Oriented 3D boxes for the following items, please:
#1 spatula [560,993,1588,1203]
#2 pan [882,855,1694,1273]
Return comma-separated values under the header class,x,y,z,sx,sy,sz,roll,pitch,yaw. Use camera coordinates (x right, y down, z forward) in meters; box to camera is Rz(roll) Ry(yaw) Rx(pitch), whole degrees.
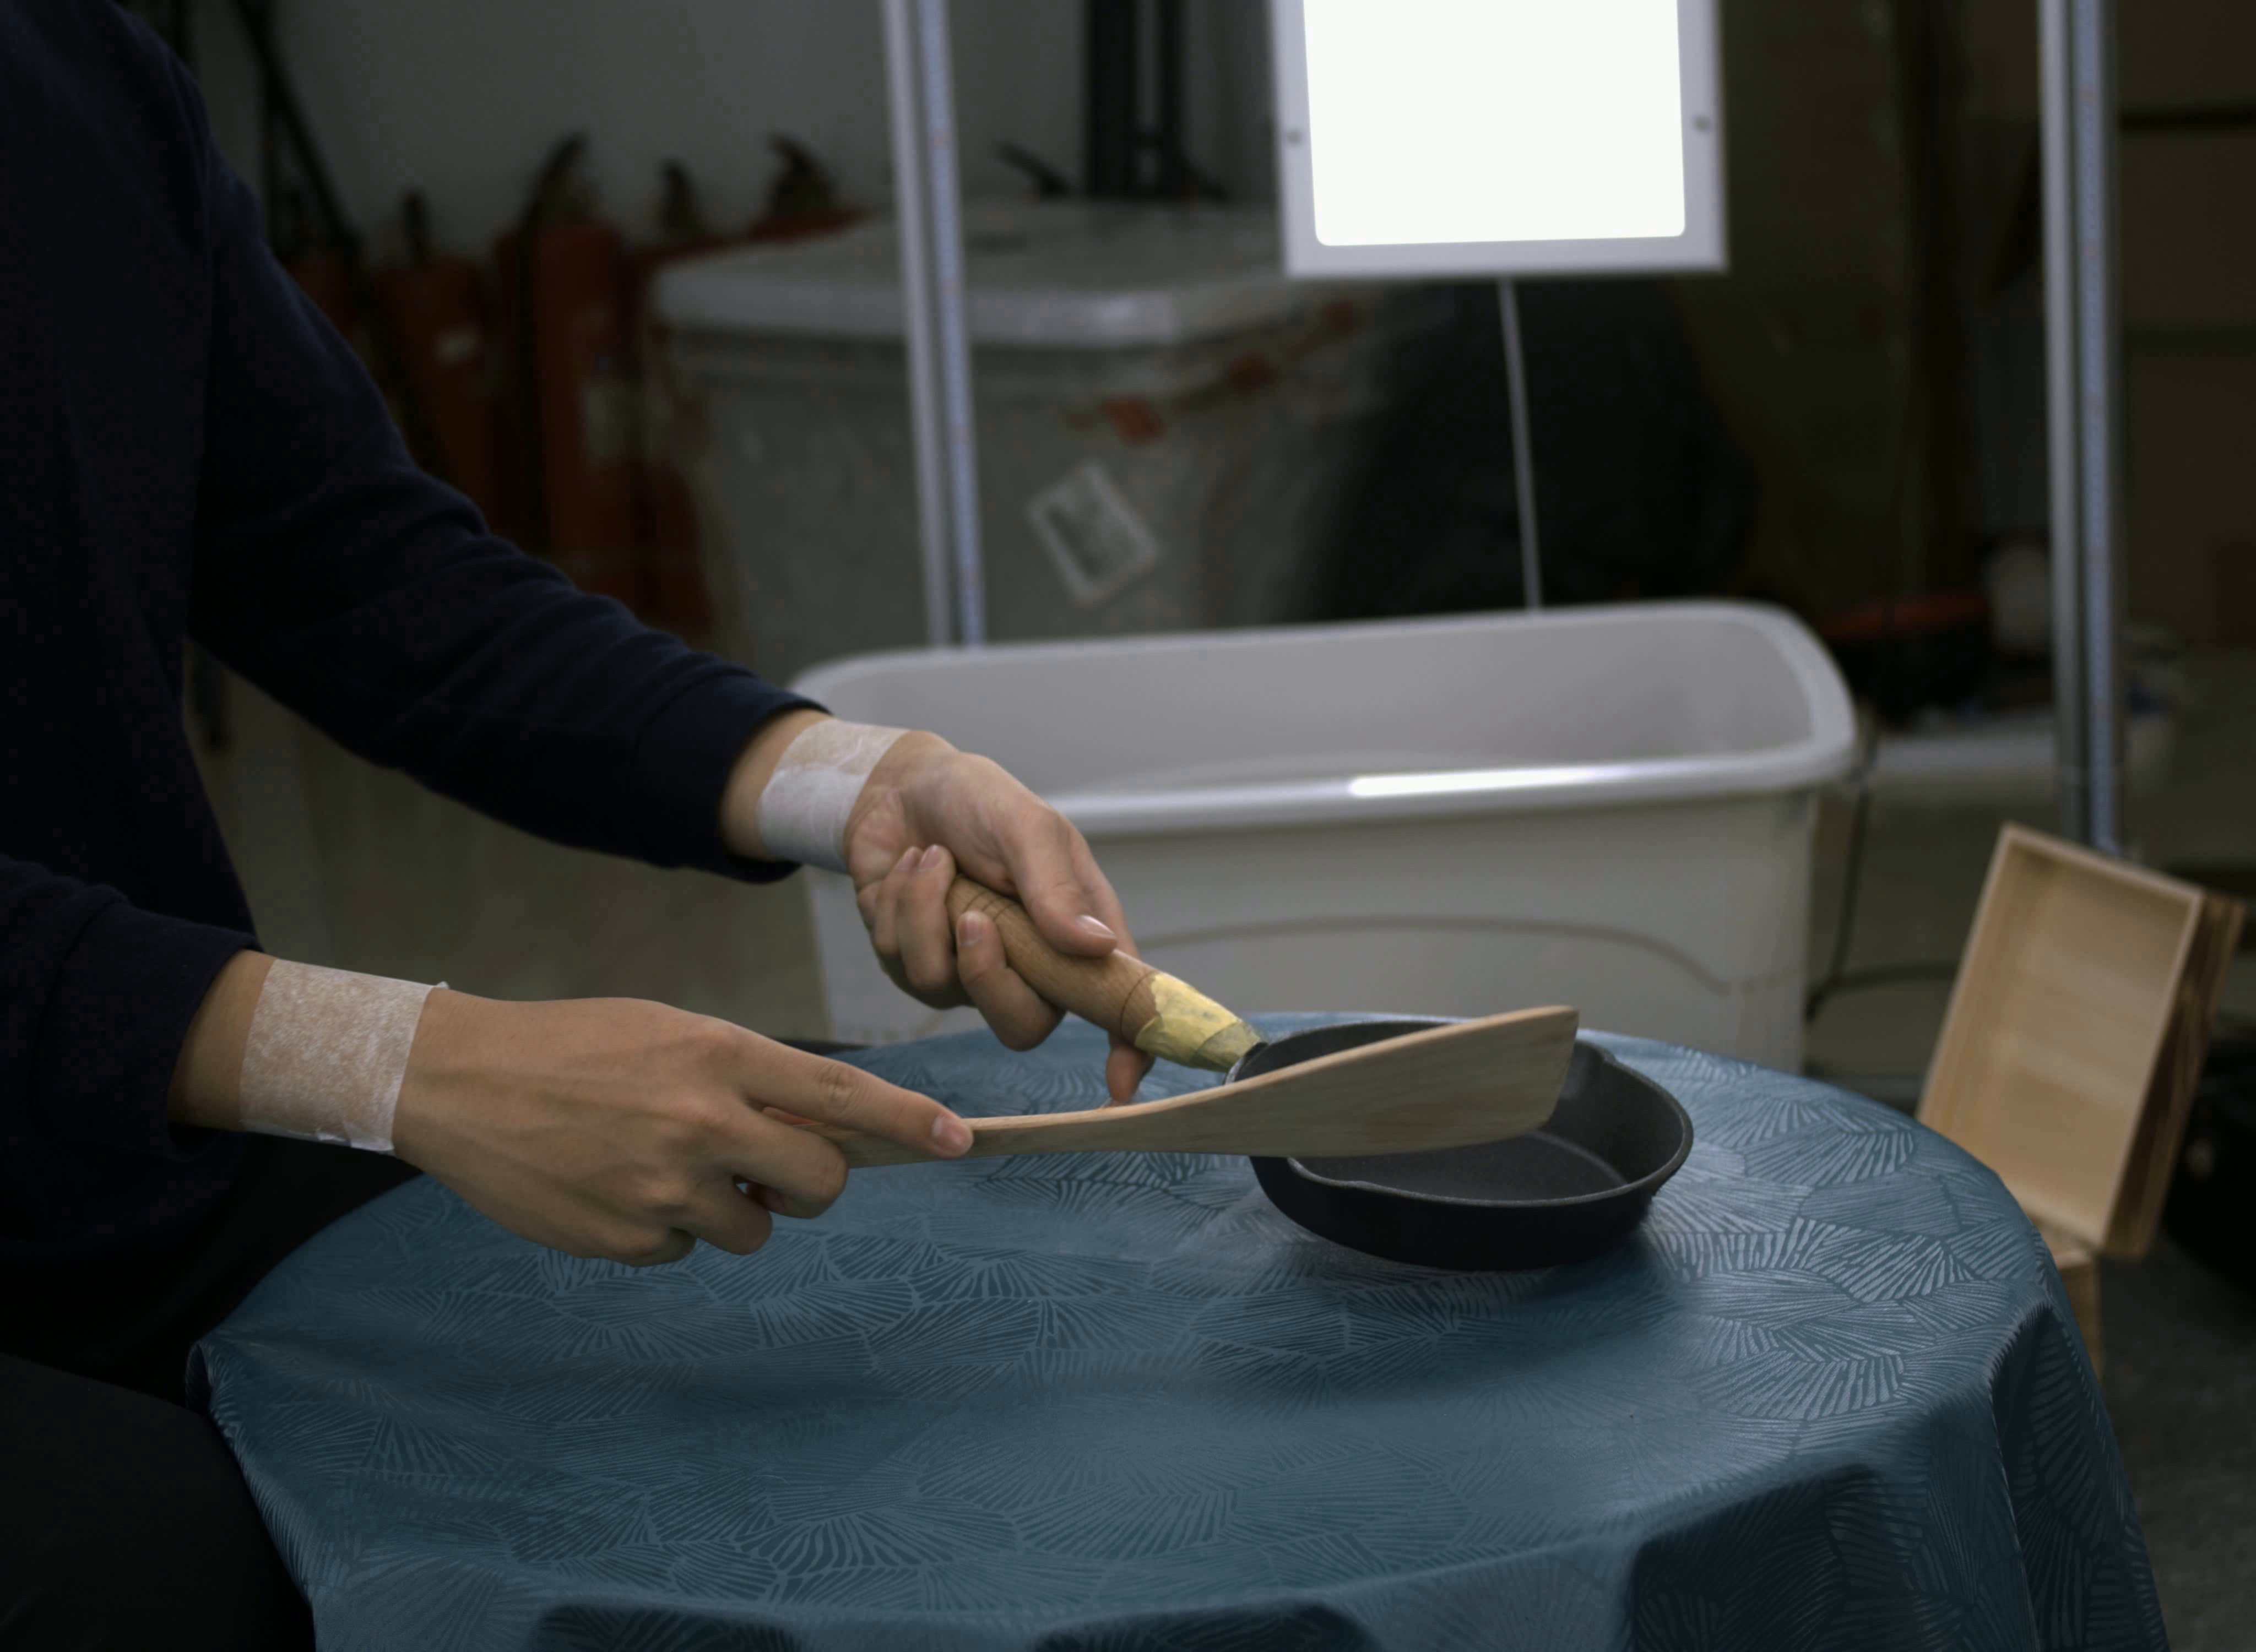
class,x,y,z,sx,sy,sz,roll,pitch,yaw
spatula,-0.017,0.093,1.725,0.328,0.080,0.016,-6,56,7
pan,0.043,0.077,1.872,0.330,0.050,0.164,20,25,36
